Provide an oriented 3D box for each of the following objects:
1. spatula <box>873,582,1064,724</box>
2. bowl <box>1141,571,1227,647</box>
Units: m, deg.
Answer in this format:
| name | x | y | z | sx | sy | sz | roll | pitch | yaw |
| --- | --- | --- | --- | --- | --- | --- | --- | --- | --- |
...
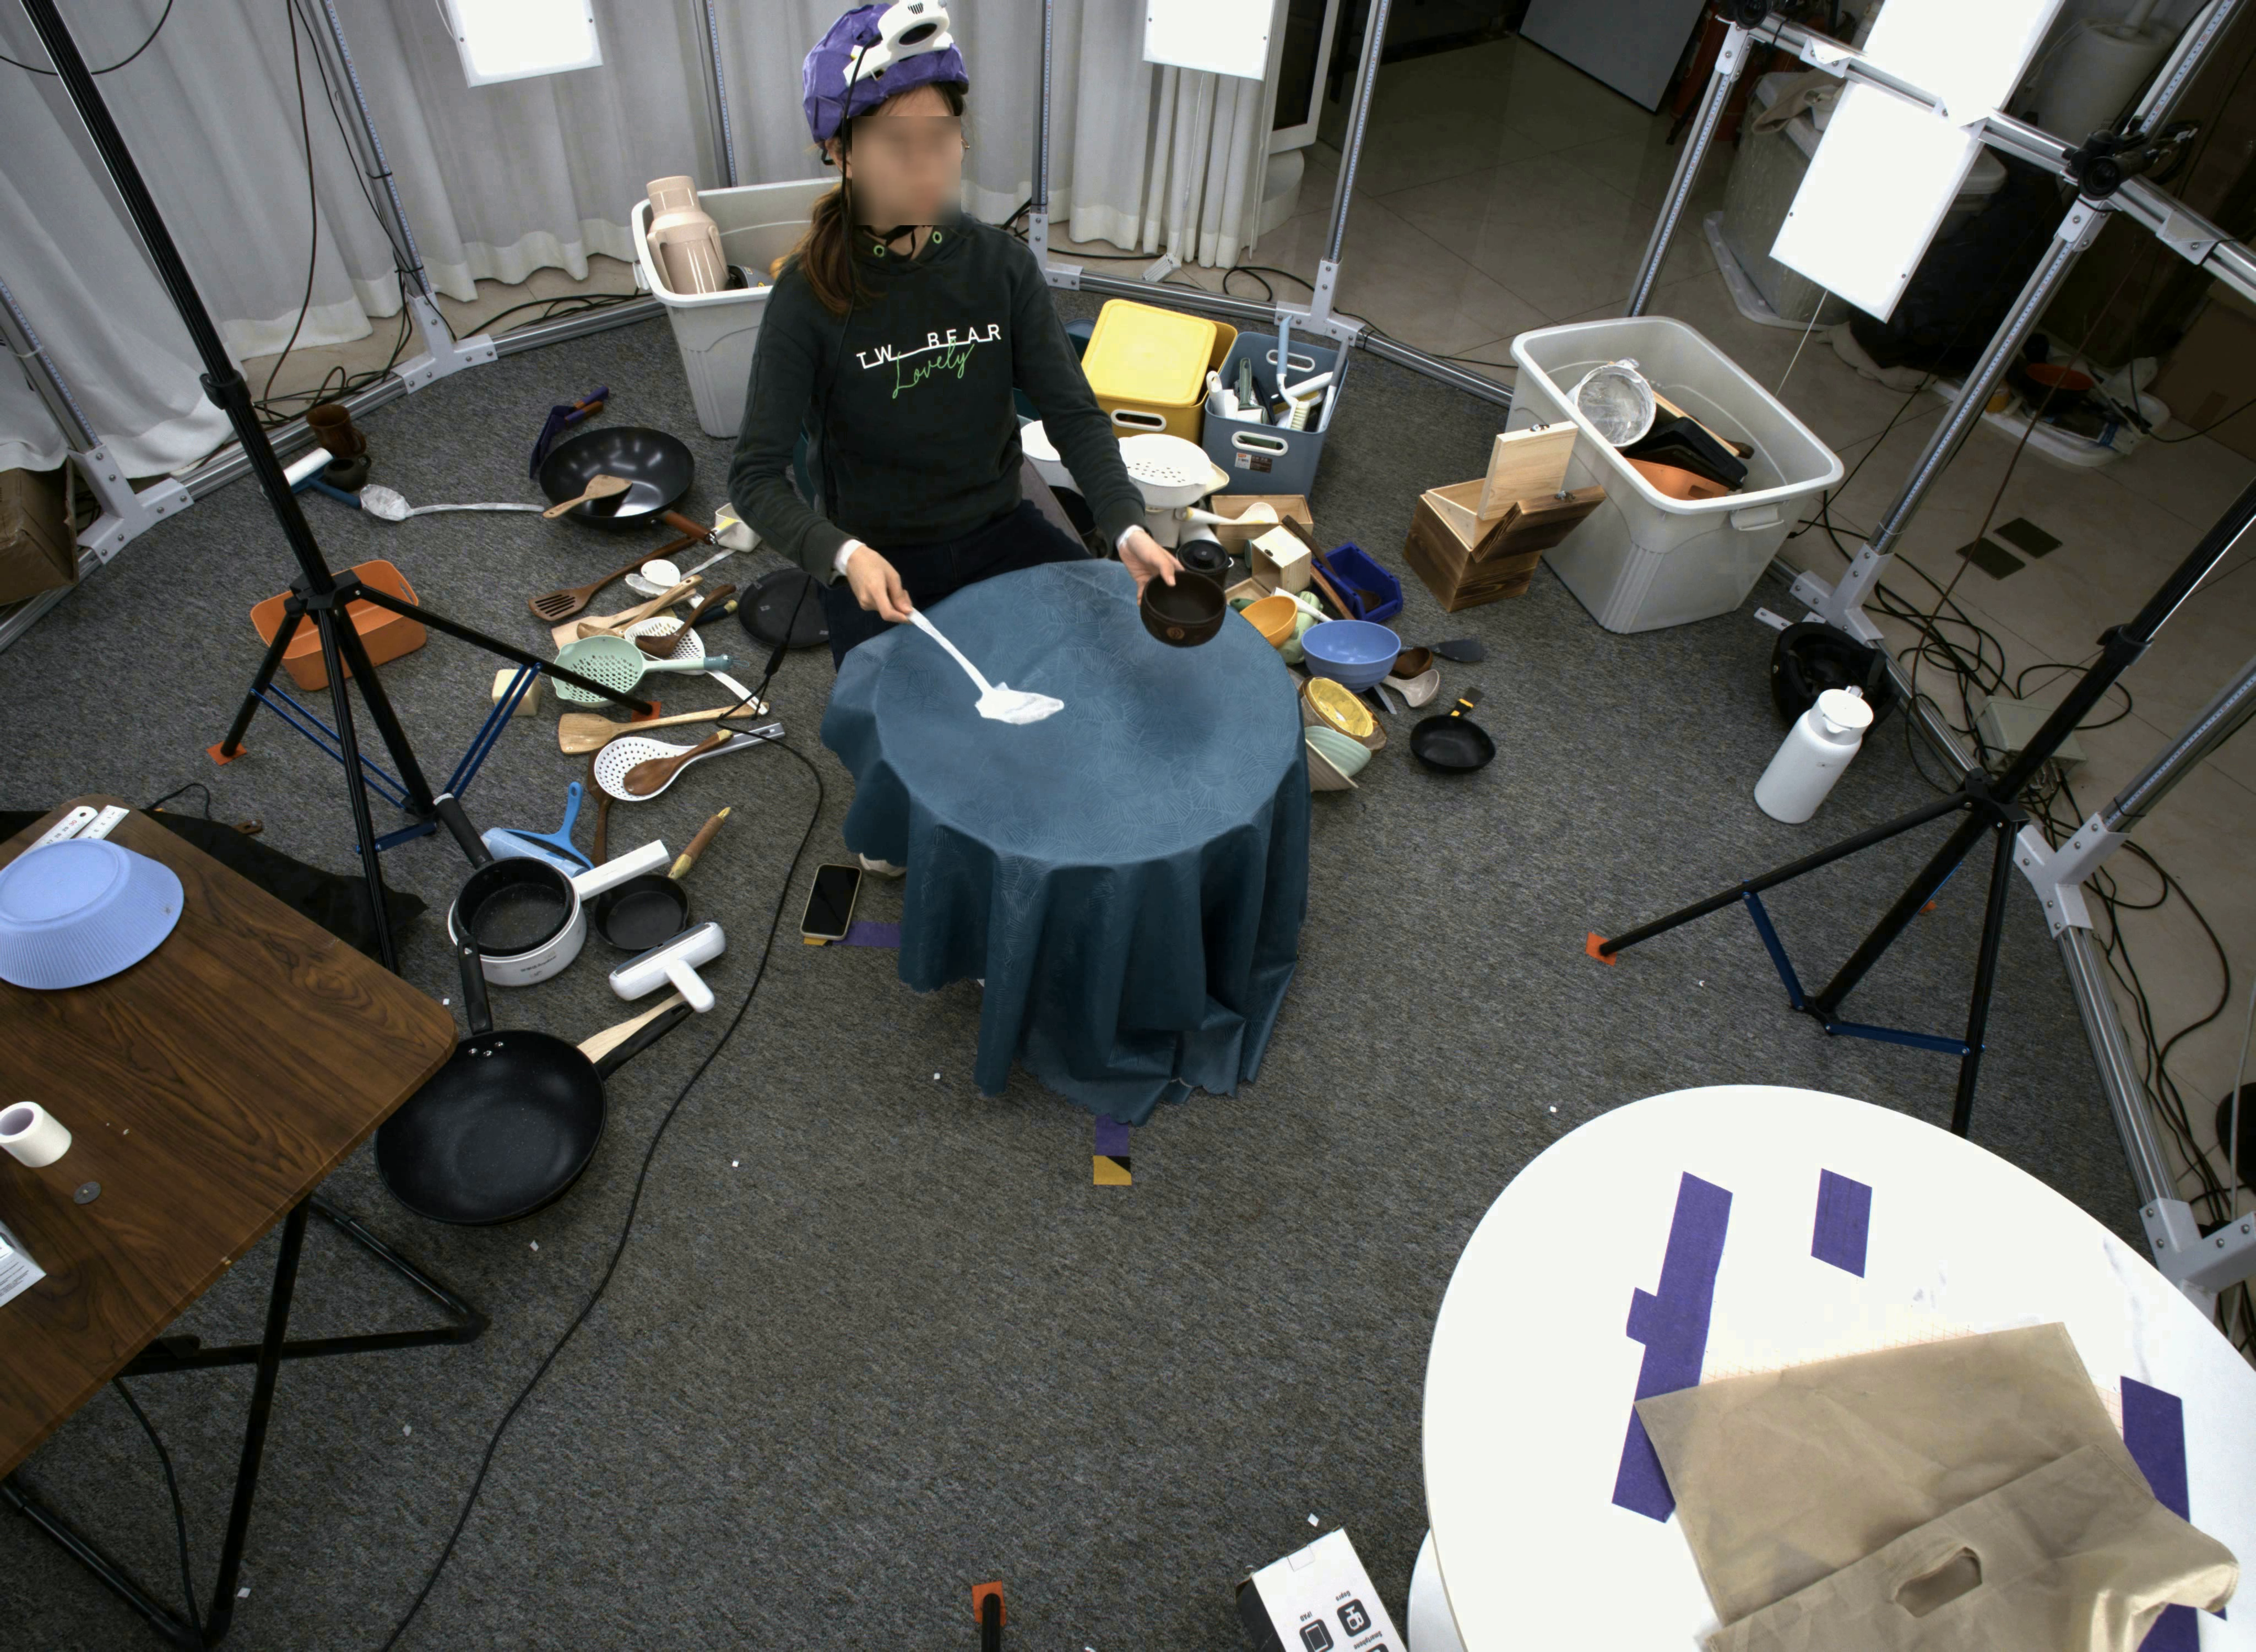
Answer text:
| name | x | y | z | sx | sy | sz | roll | pitch | yaw |
| --- | --- | --- | --- | --- | --- | --- | --- | --- | --- |
| spatula | -0.230 | -0.237 | 1.700 | 0.099 | 0.044 | 0.371 | -25 | 57 | -38 |
| bowl | 0.075 | -0.293 | 1.784 | 0.118 | 0.068 | 0.121 | 4 | 45 | -4 |
